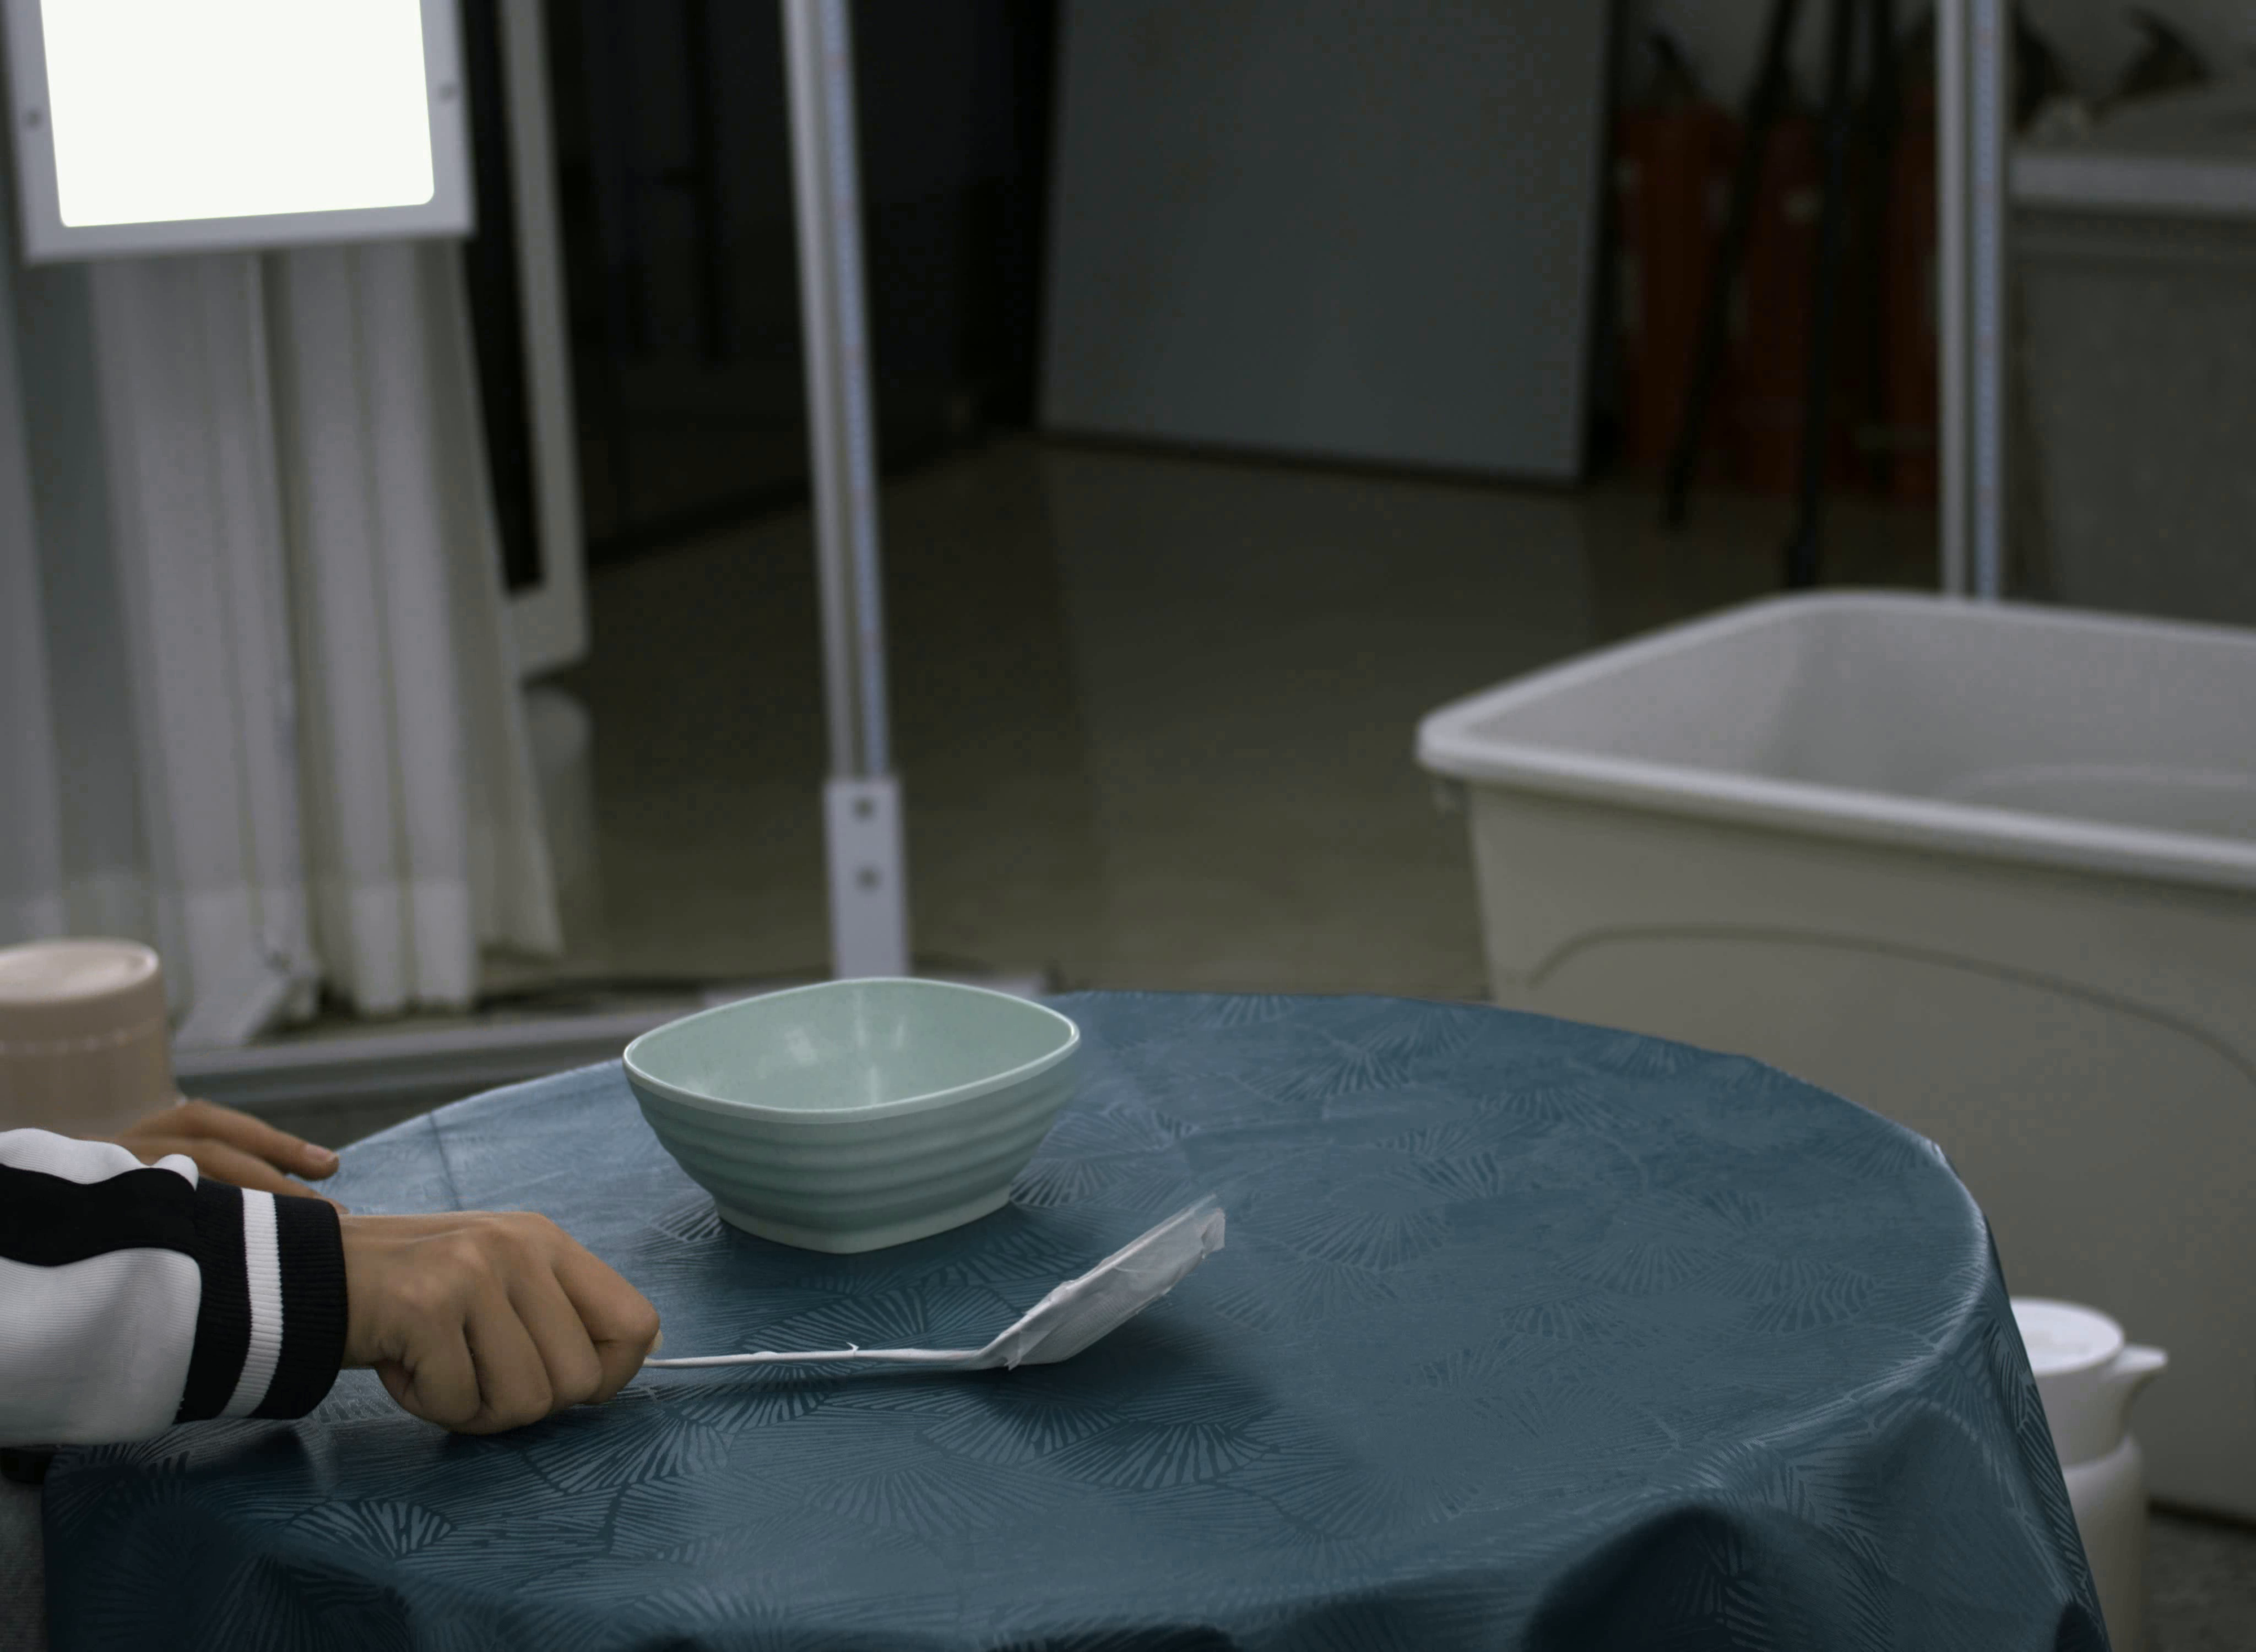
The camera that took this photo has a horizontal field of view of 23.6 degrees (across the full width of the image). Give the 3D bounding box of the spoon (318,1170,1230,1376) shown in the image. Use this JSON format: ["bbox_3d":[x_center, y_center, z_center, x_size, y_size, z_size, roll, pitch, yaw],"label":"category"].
[{"bbox_3d":[-0.106,0.134,1.620,0.274,0.060,0.100,-1,-8,5],"label":"spoon"}]

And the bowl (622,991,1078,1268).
[{"bbox_3d":[-0.089,0.102,1.766,0.149,0.059,0.152,-4,13,0],"label":"bowl"}]
